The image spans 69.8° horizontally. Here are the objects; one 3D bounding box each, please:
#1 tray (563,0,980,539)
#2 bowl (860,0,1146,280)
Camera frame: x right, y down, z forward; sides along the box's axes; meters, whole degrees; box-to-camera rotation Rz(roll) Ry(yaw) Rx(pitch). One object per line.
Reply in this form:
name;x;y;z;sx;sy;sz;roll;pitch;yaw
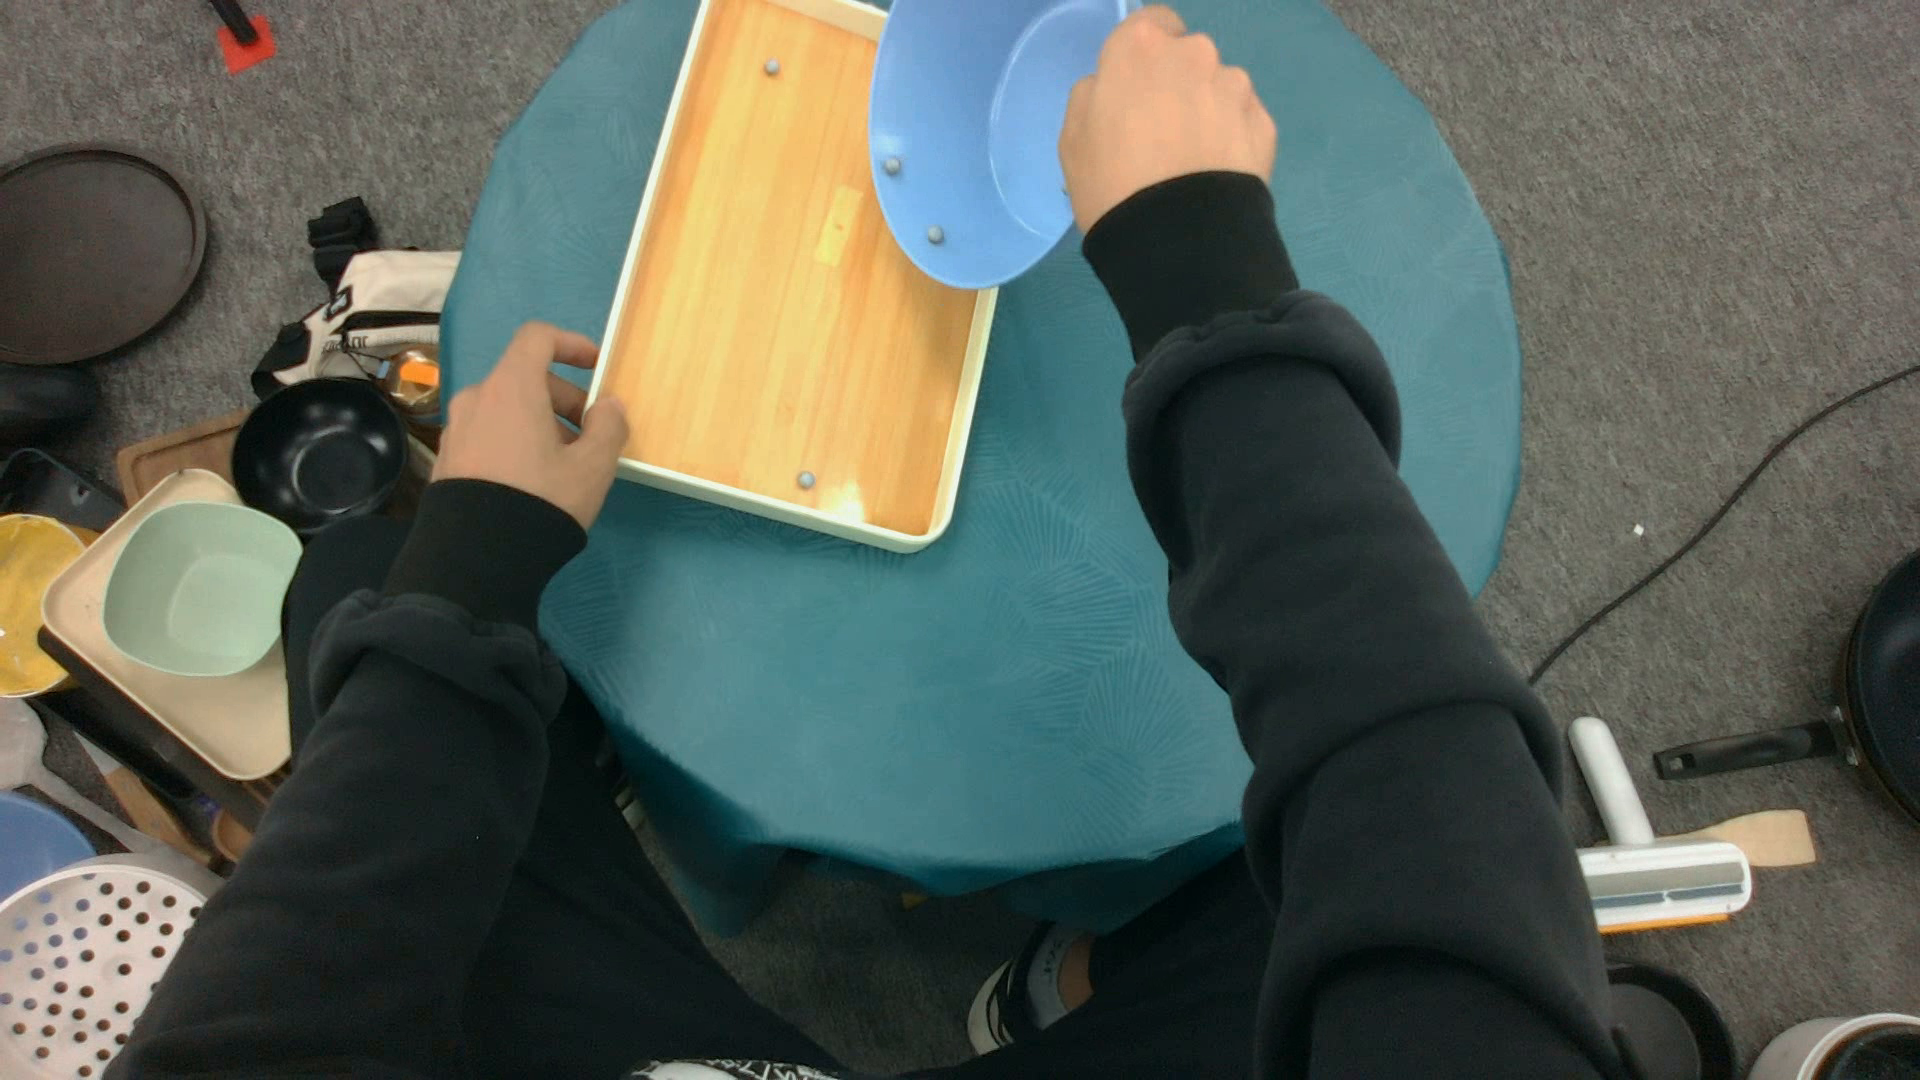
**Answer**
tray;-0.083;-0.162;0.740;0.192;0.027;0.301;15;71;-14
bowl;0.027;-0.213;0.669;0.070;0.175;0.176;-3;69;-39
